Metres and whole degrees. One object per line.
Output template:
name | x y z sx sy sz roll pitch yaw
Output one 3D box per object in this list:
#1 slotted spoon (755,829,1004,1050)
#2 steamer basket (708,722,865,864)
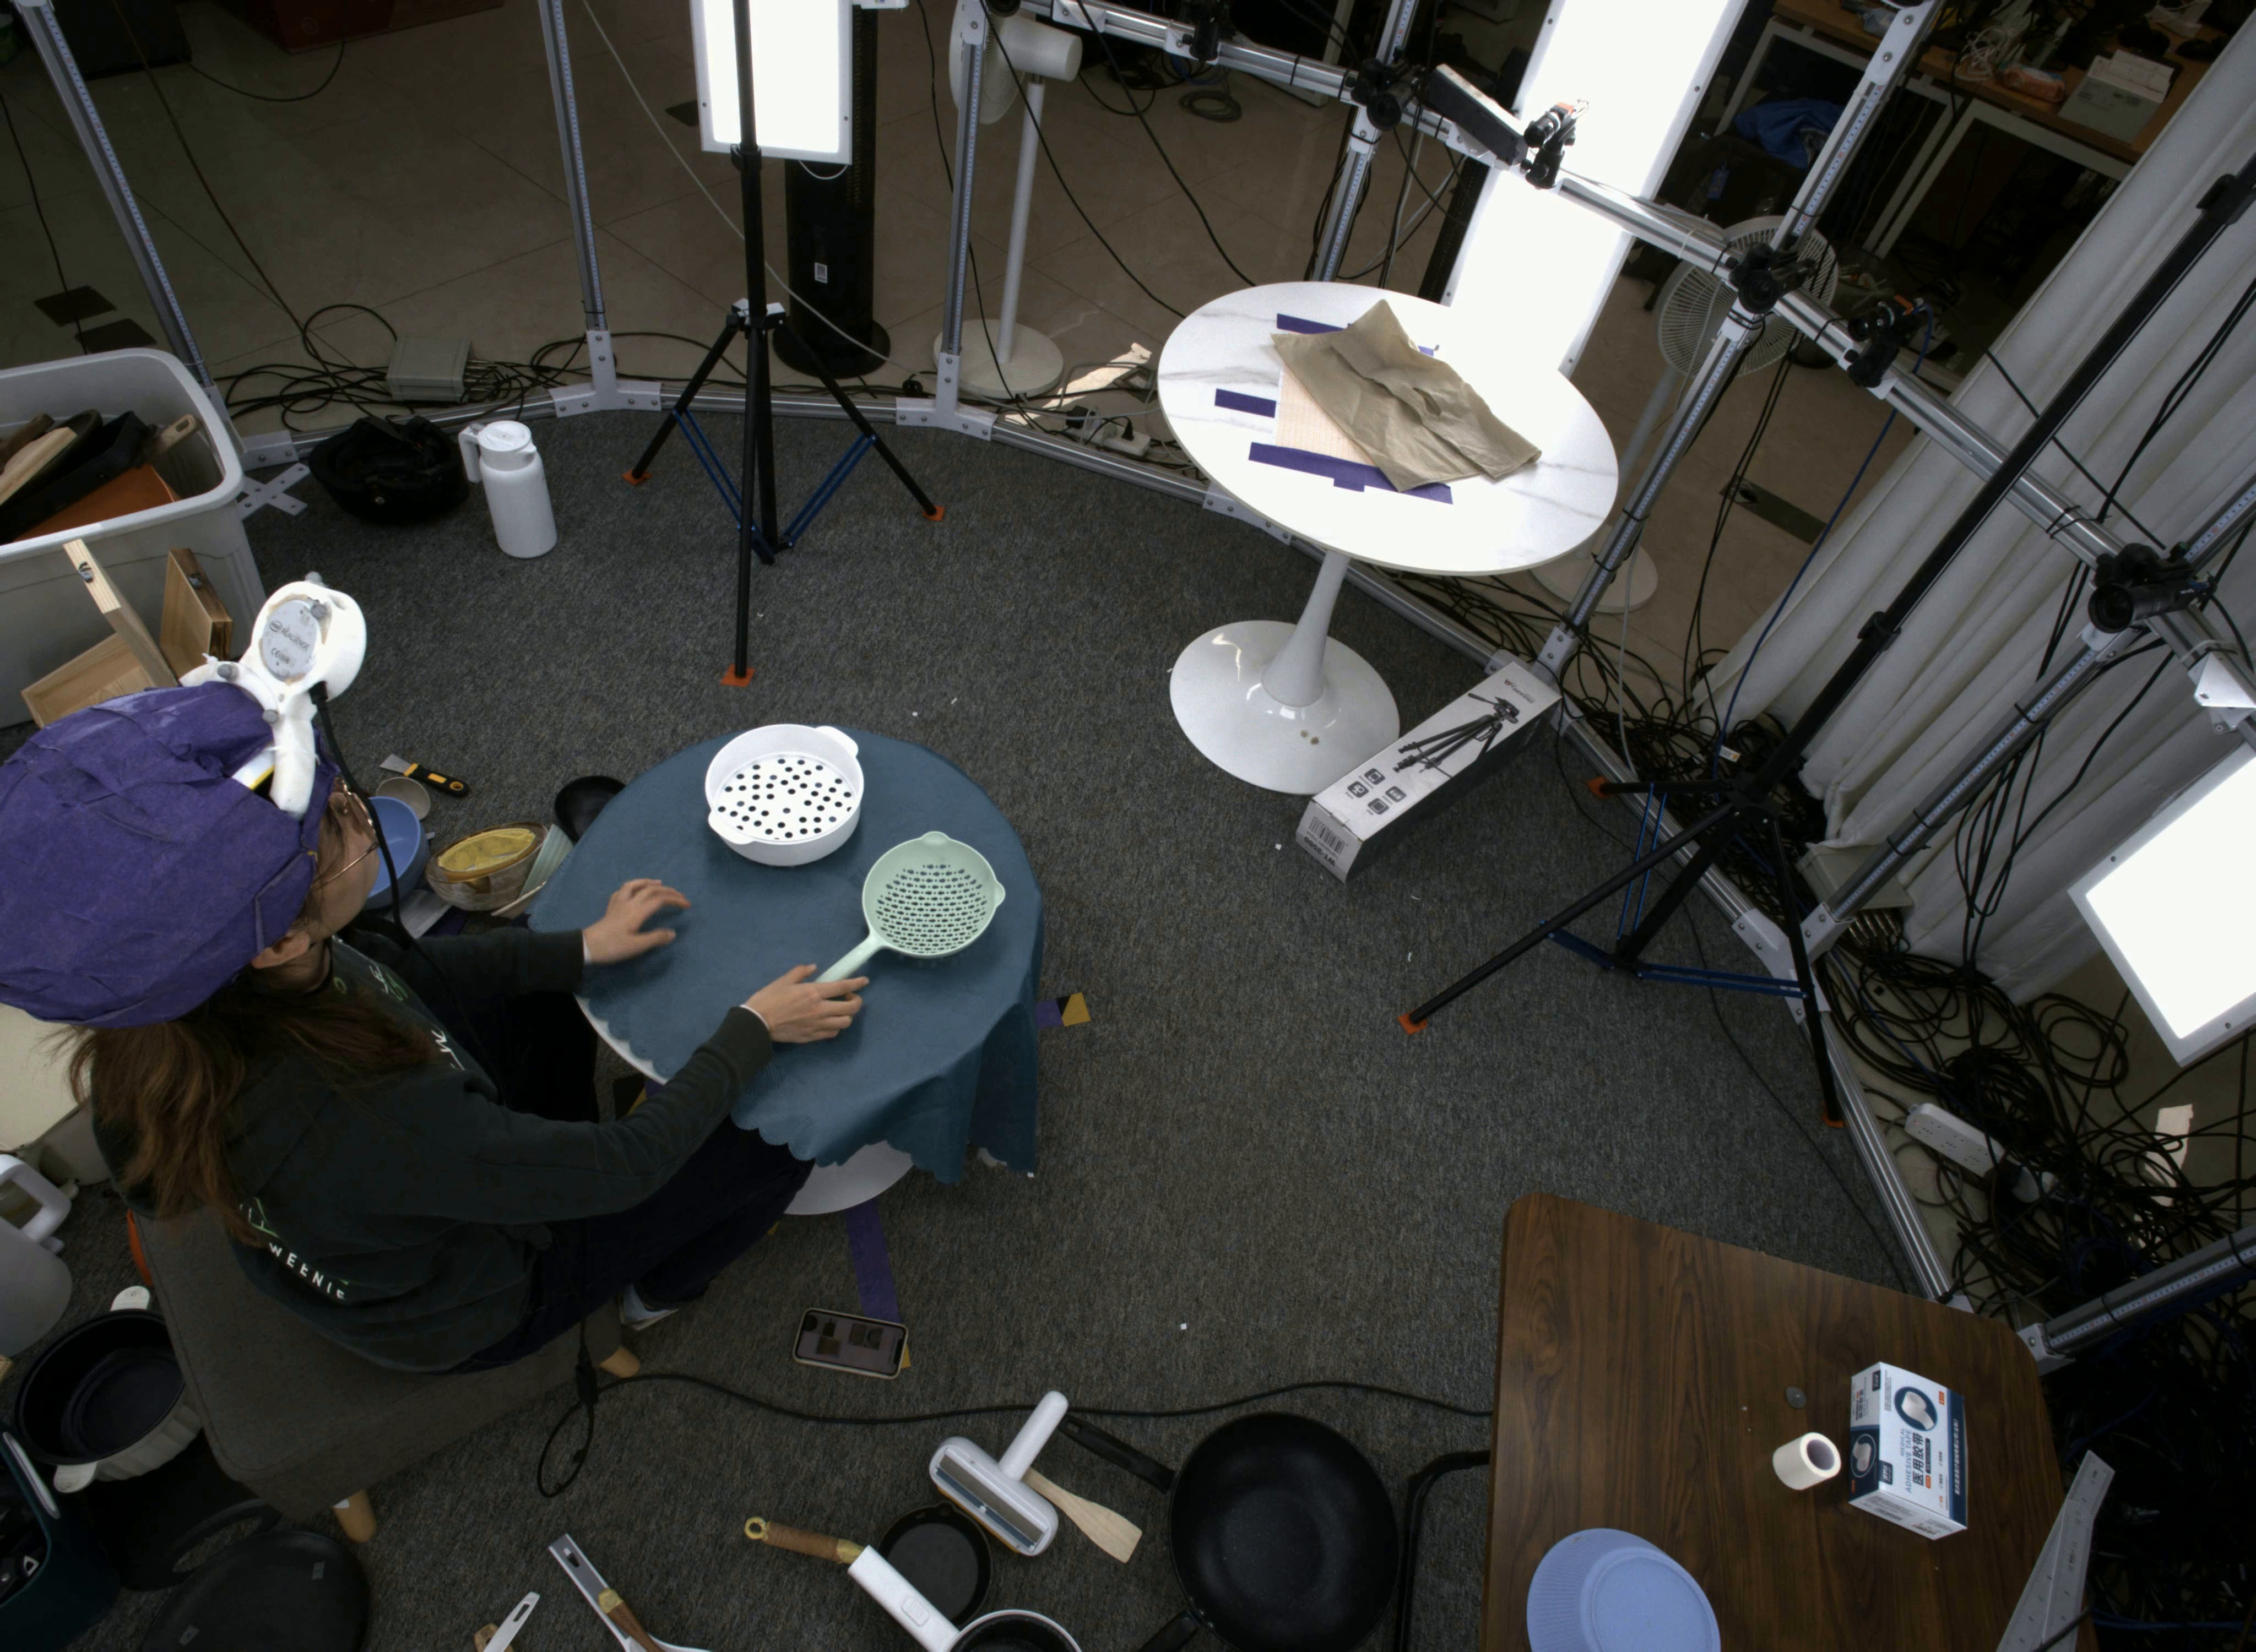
slotted spoon | -0.316 0.147 1.606 0.165 0.077 0.359 40 55 17
steamer basket | -0.449 -0.042 1.712 0.198 0.071 0.230 32 53 12
